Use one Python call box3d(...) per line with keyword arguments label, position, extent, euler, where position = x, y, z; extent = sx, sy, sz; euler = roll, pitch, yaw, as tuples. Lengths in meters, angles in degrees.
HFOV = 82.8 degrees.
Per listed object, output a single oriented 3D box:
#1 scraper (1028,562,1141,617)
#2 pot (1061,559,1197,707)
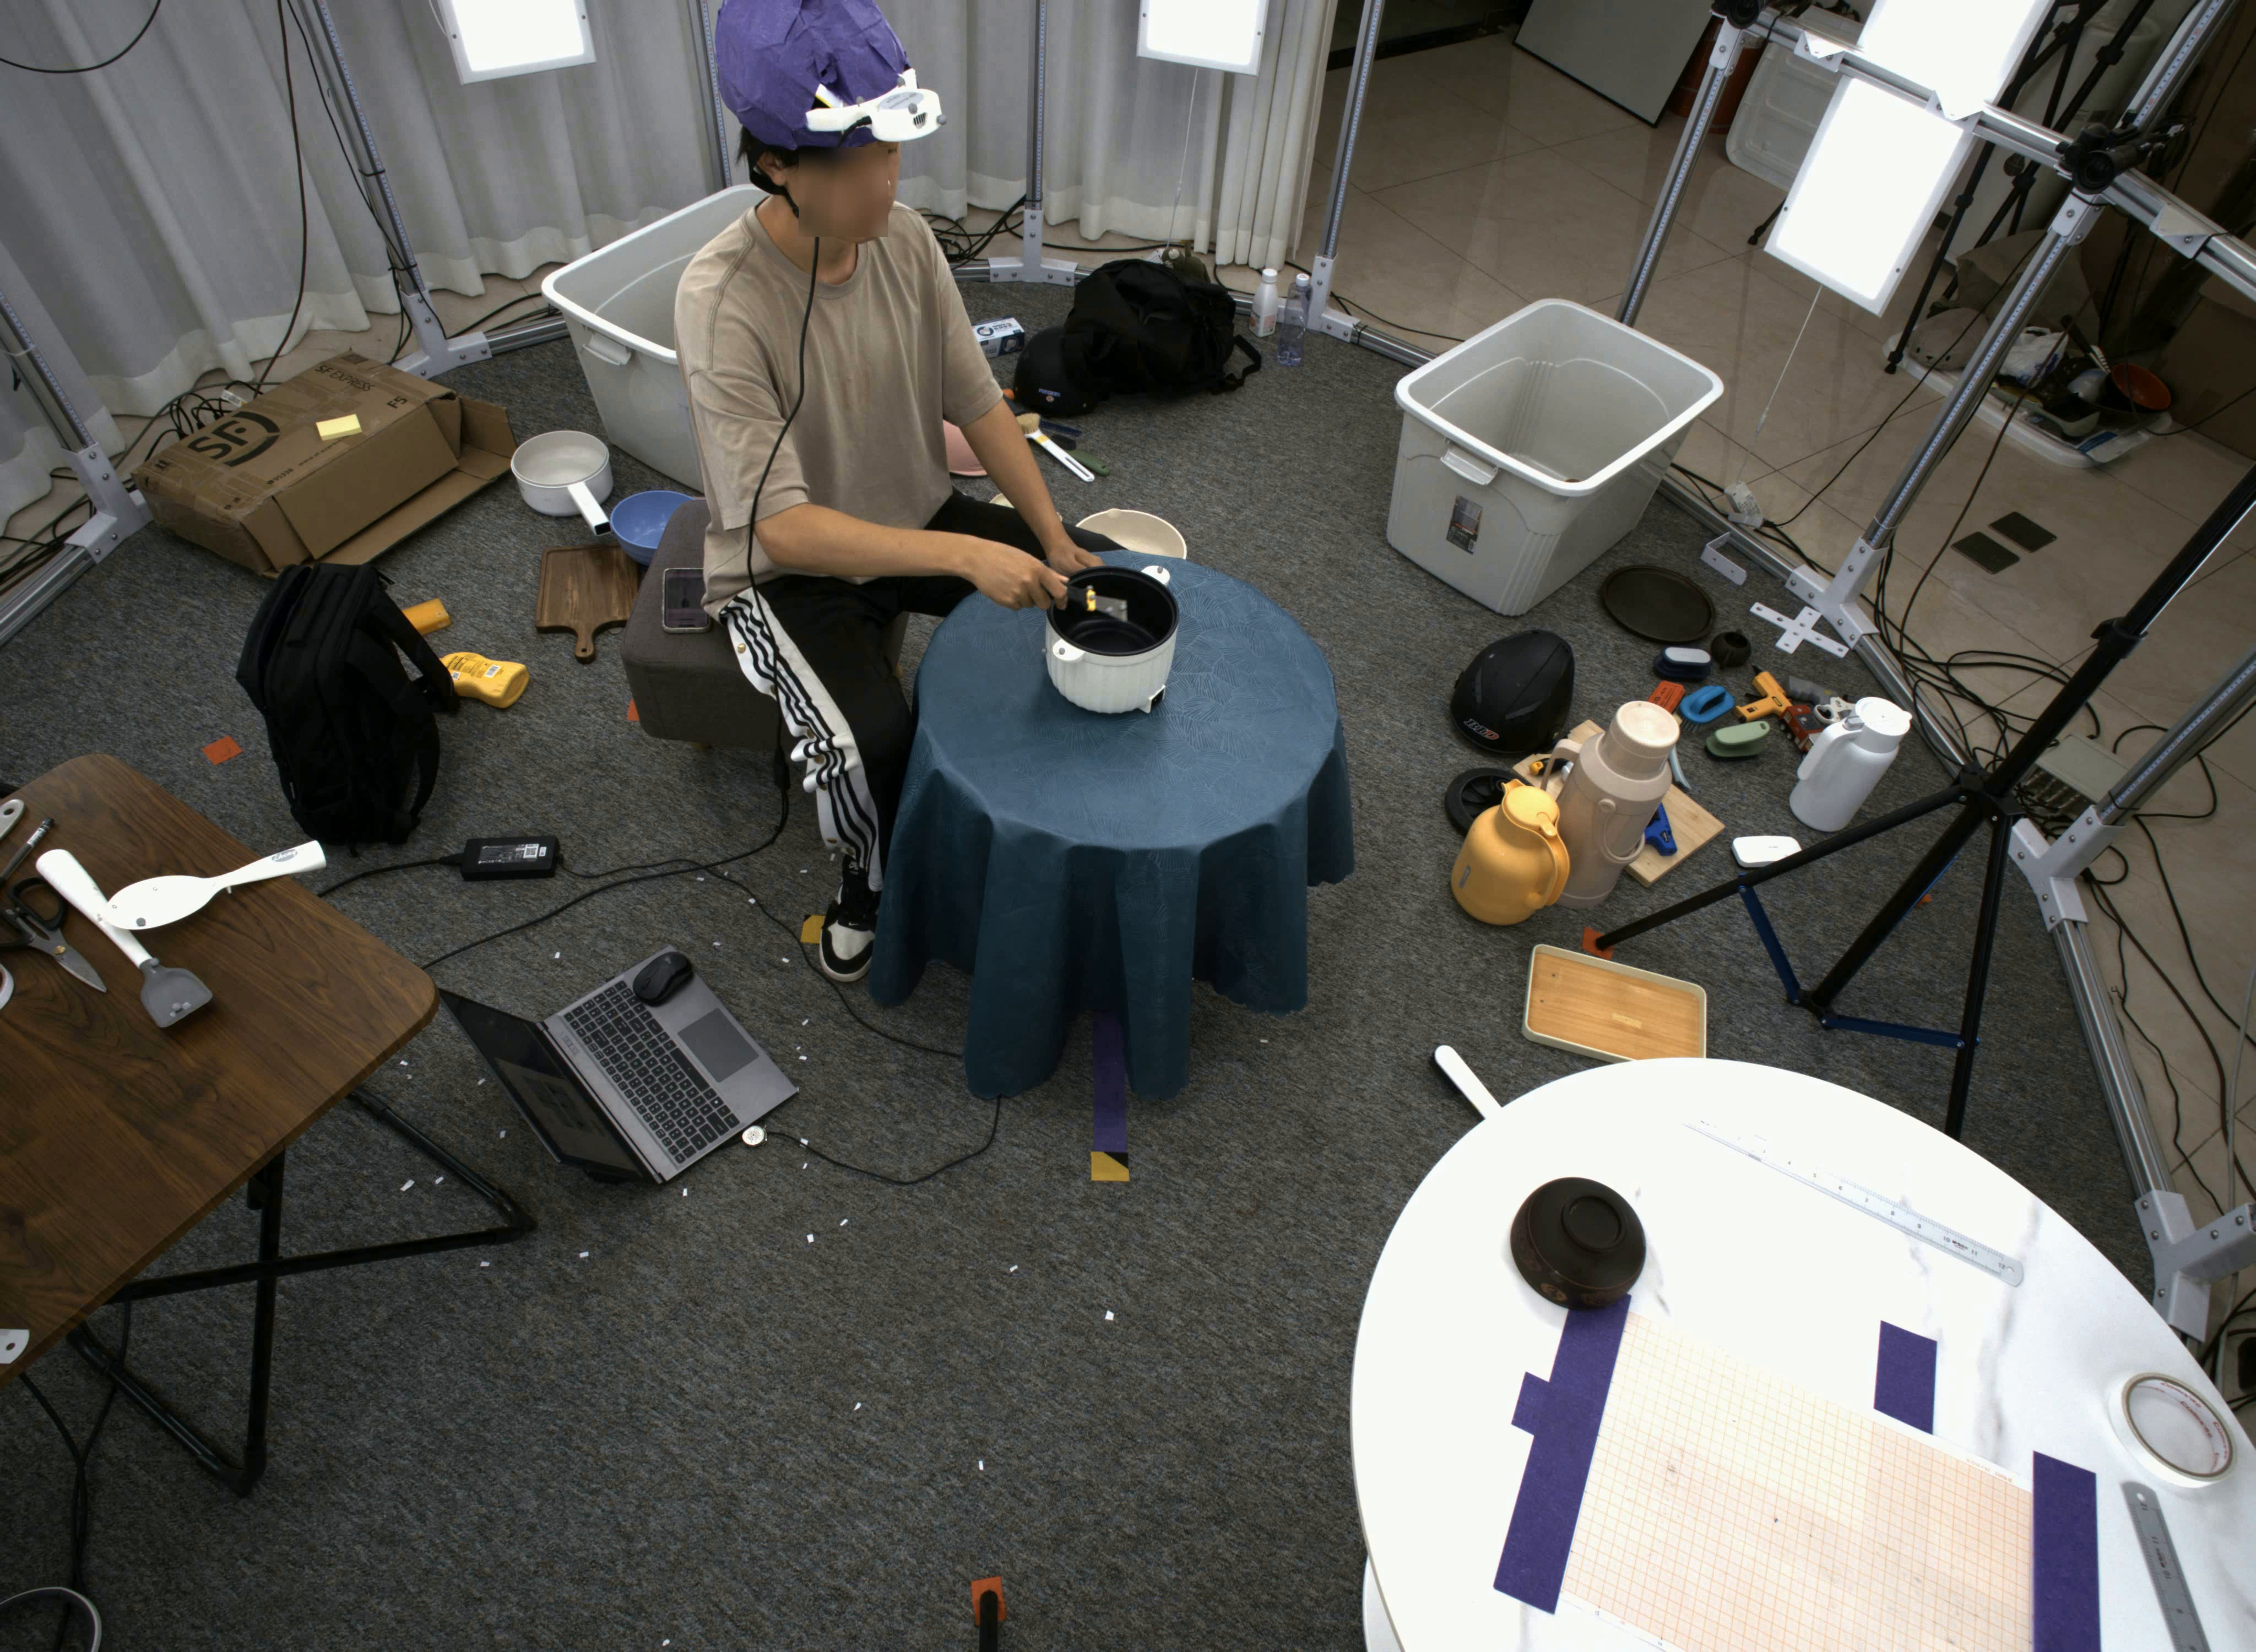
box3d(label="scraper", position=(-0.056, -0.317, 1.717), extent=(0.169, 0.015, 0.039), euler=(12, 63, -28))
box3d(label="pot", position=(-0.007, -0.265, 1.792), extent=(0.192, 0.139, 0.243), euler=(33, 52, 16))
